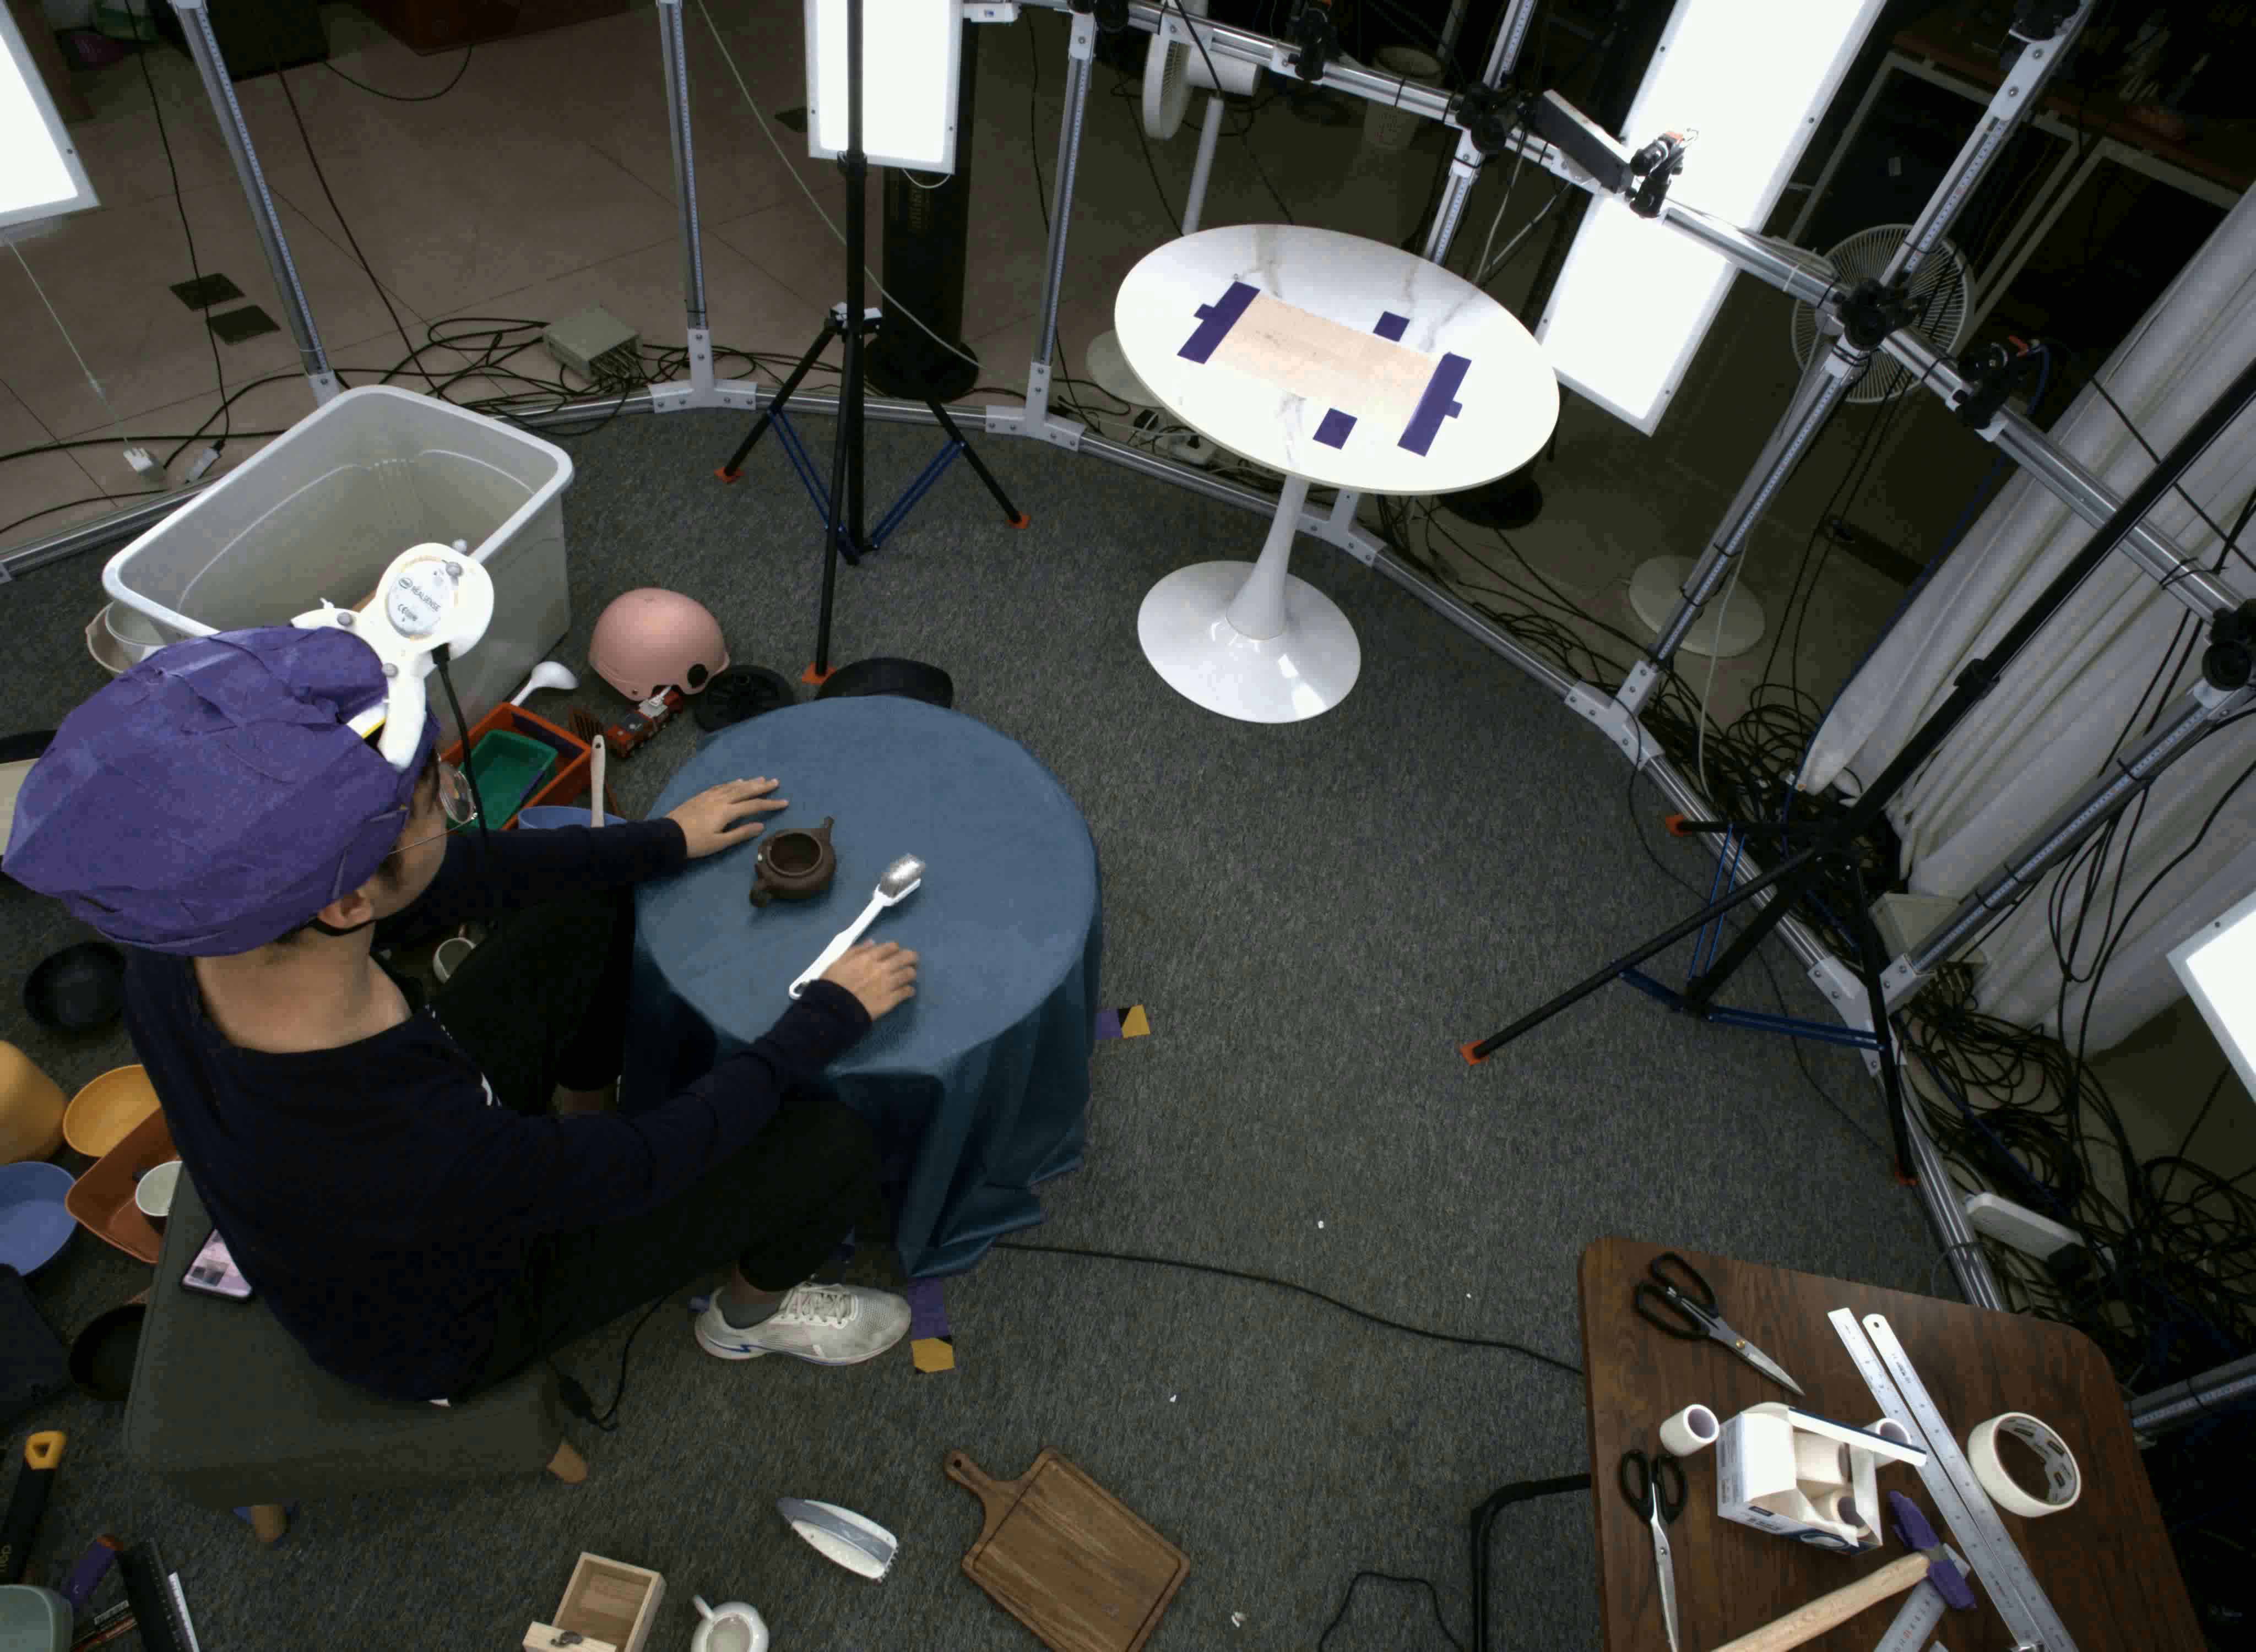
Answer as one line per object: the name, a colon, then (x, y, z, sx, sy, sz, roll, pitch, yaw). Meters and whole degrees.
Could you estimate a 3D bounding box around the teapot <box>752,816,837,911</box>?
teapot: (-0.427, 0.050, 1.654, 0.101, 0.055, 0.153, 27, 52, 8)

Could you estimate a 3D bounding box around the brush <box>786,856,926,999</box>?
brush: (-0.340, 0.120, 1.625, 0.034, 0.051, 0.243, 35, 53, 12)
